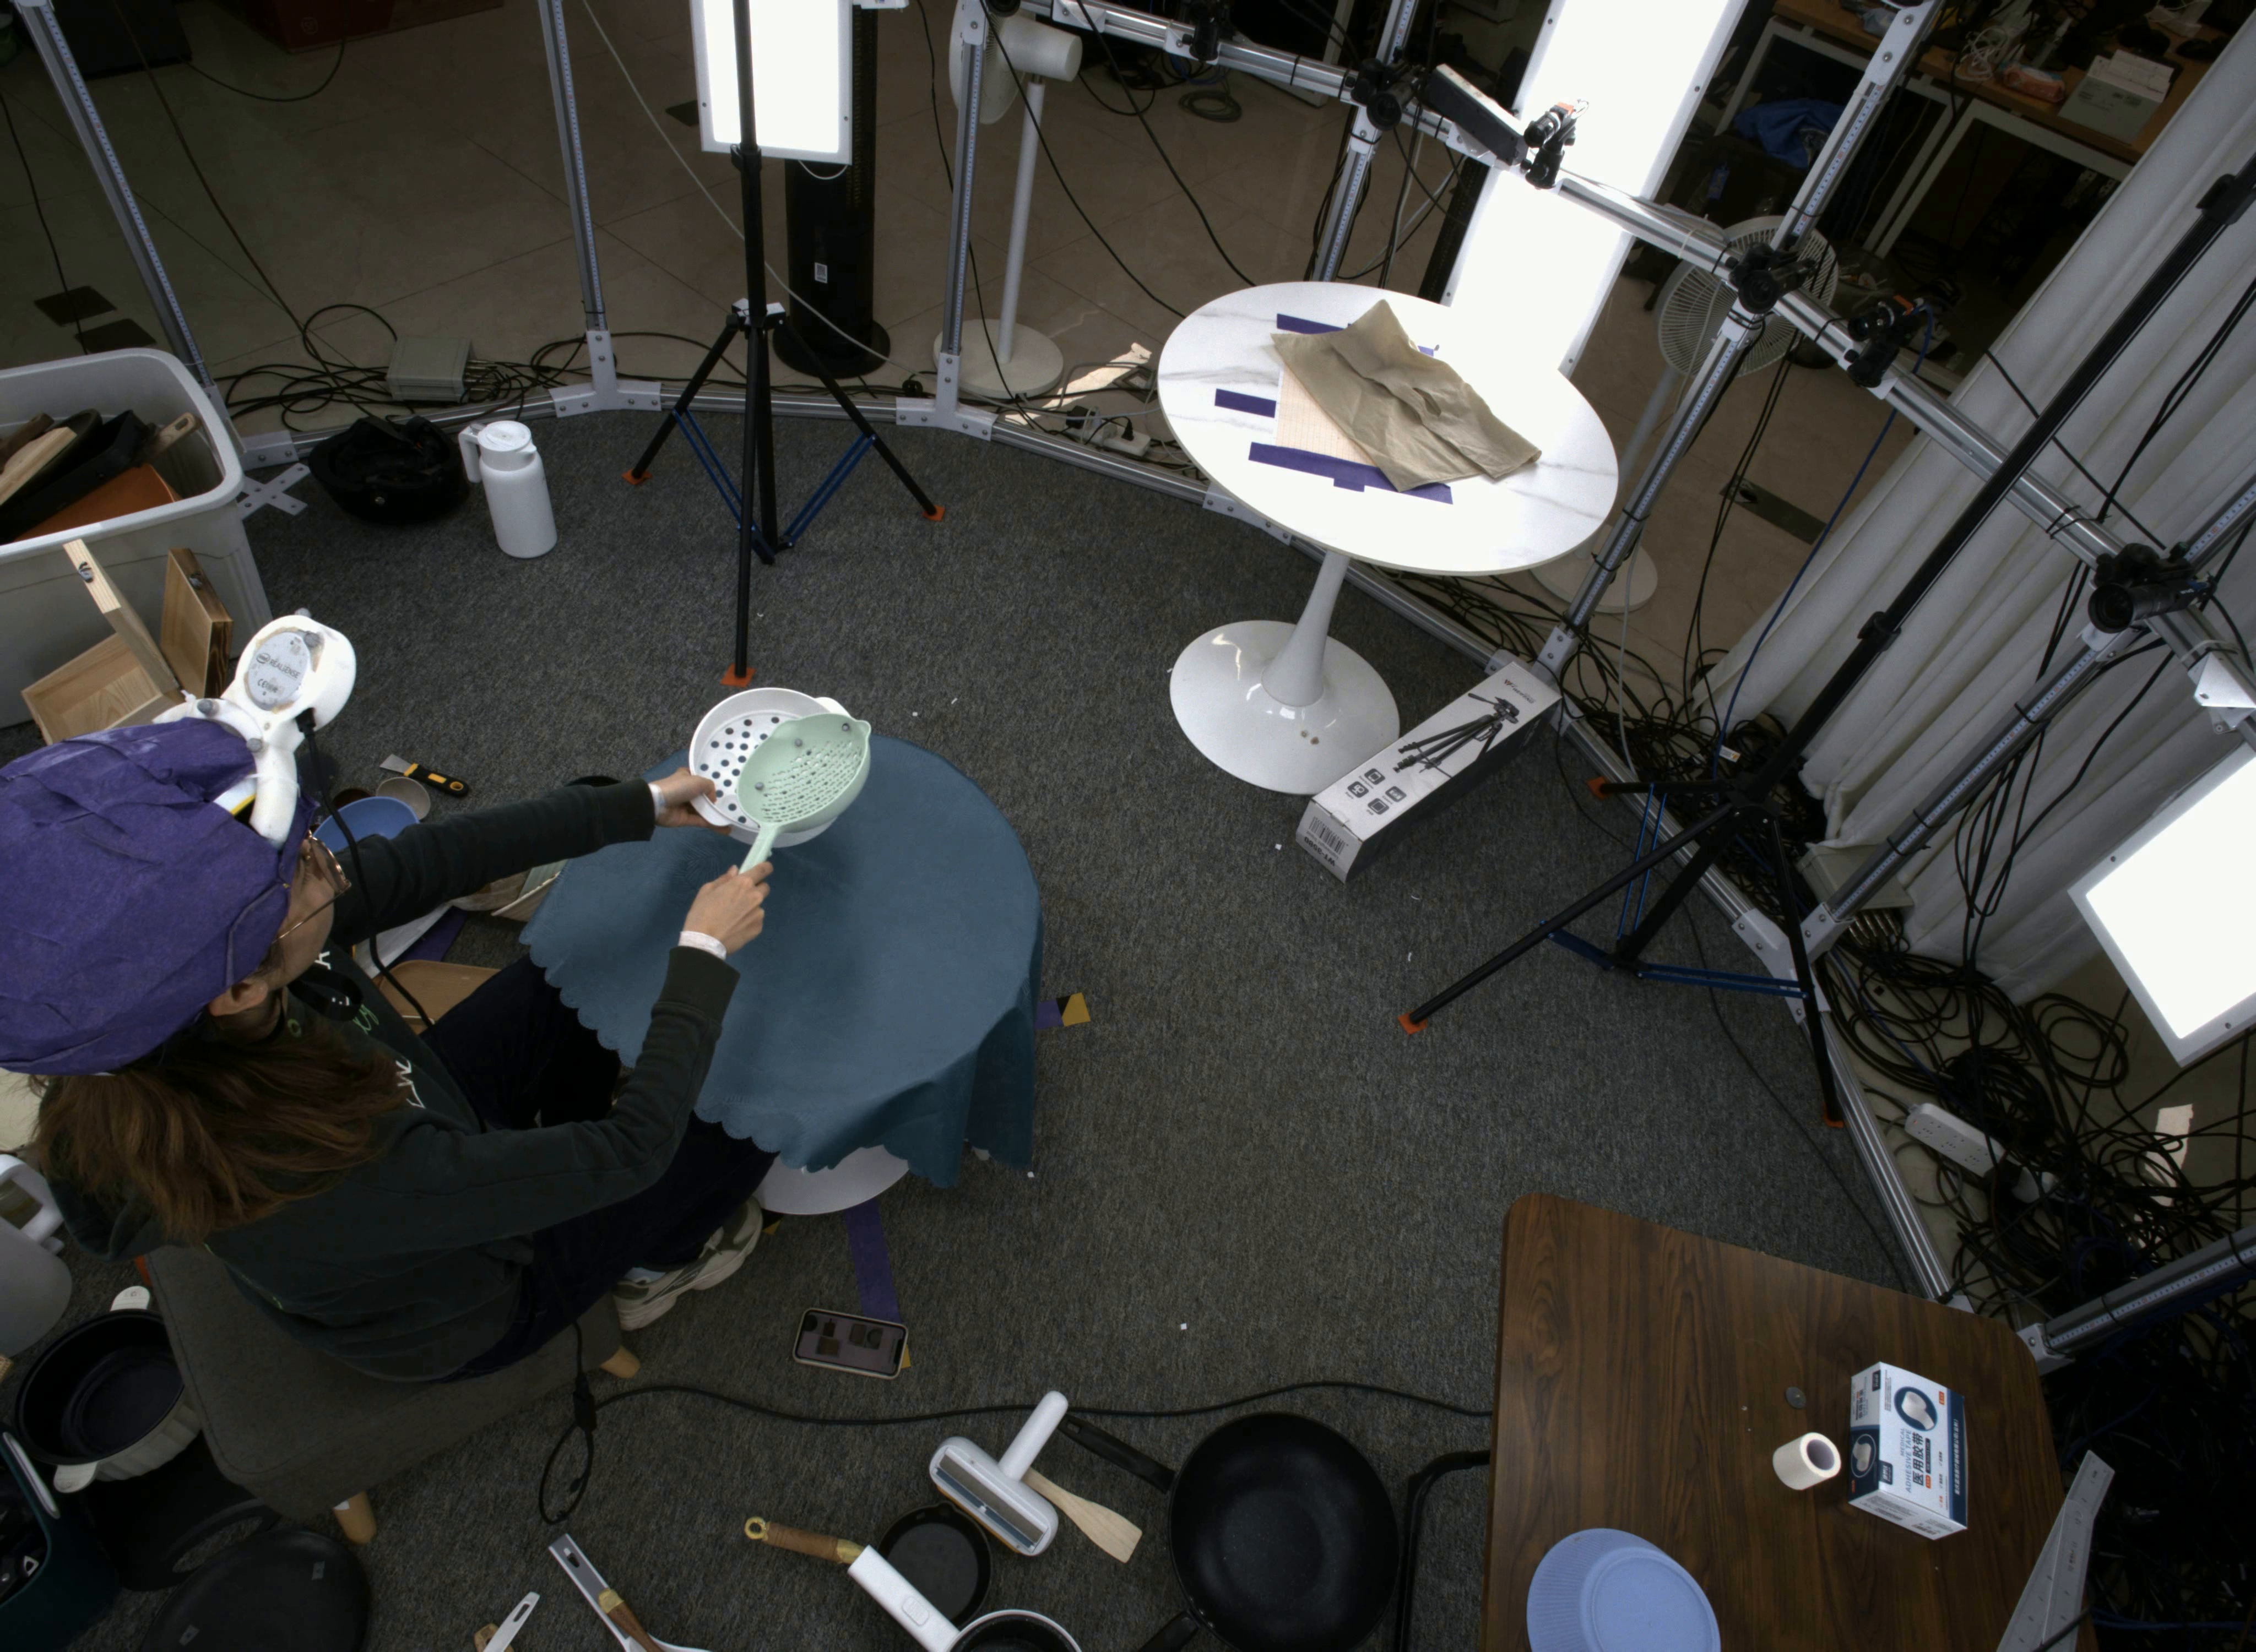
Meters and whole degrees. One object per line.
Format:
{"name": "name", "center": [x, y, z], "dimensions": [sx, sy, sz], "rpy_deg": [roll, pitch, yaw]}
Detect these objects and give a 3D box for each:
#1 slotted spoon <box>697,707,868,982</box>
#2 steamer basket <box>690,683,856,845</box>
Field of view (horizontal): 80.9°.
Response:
{"name": "slotted spoon", "center": [-0.406, 0.011, 1.463], "dimensions": [0.164, 0.078, 0.355], "rpy_deg": [3, 47, 25]}
{"name": "steamer basket", "center": [-0.442, -0.076, 1.619], "dimensions": [0.201, 0.069, 0.230], "rpy_deg": [46, 61, 4]}
